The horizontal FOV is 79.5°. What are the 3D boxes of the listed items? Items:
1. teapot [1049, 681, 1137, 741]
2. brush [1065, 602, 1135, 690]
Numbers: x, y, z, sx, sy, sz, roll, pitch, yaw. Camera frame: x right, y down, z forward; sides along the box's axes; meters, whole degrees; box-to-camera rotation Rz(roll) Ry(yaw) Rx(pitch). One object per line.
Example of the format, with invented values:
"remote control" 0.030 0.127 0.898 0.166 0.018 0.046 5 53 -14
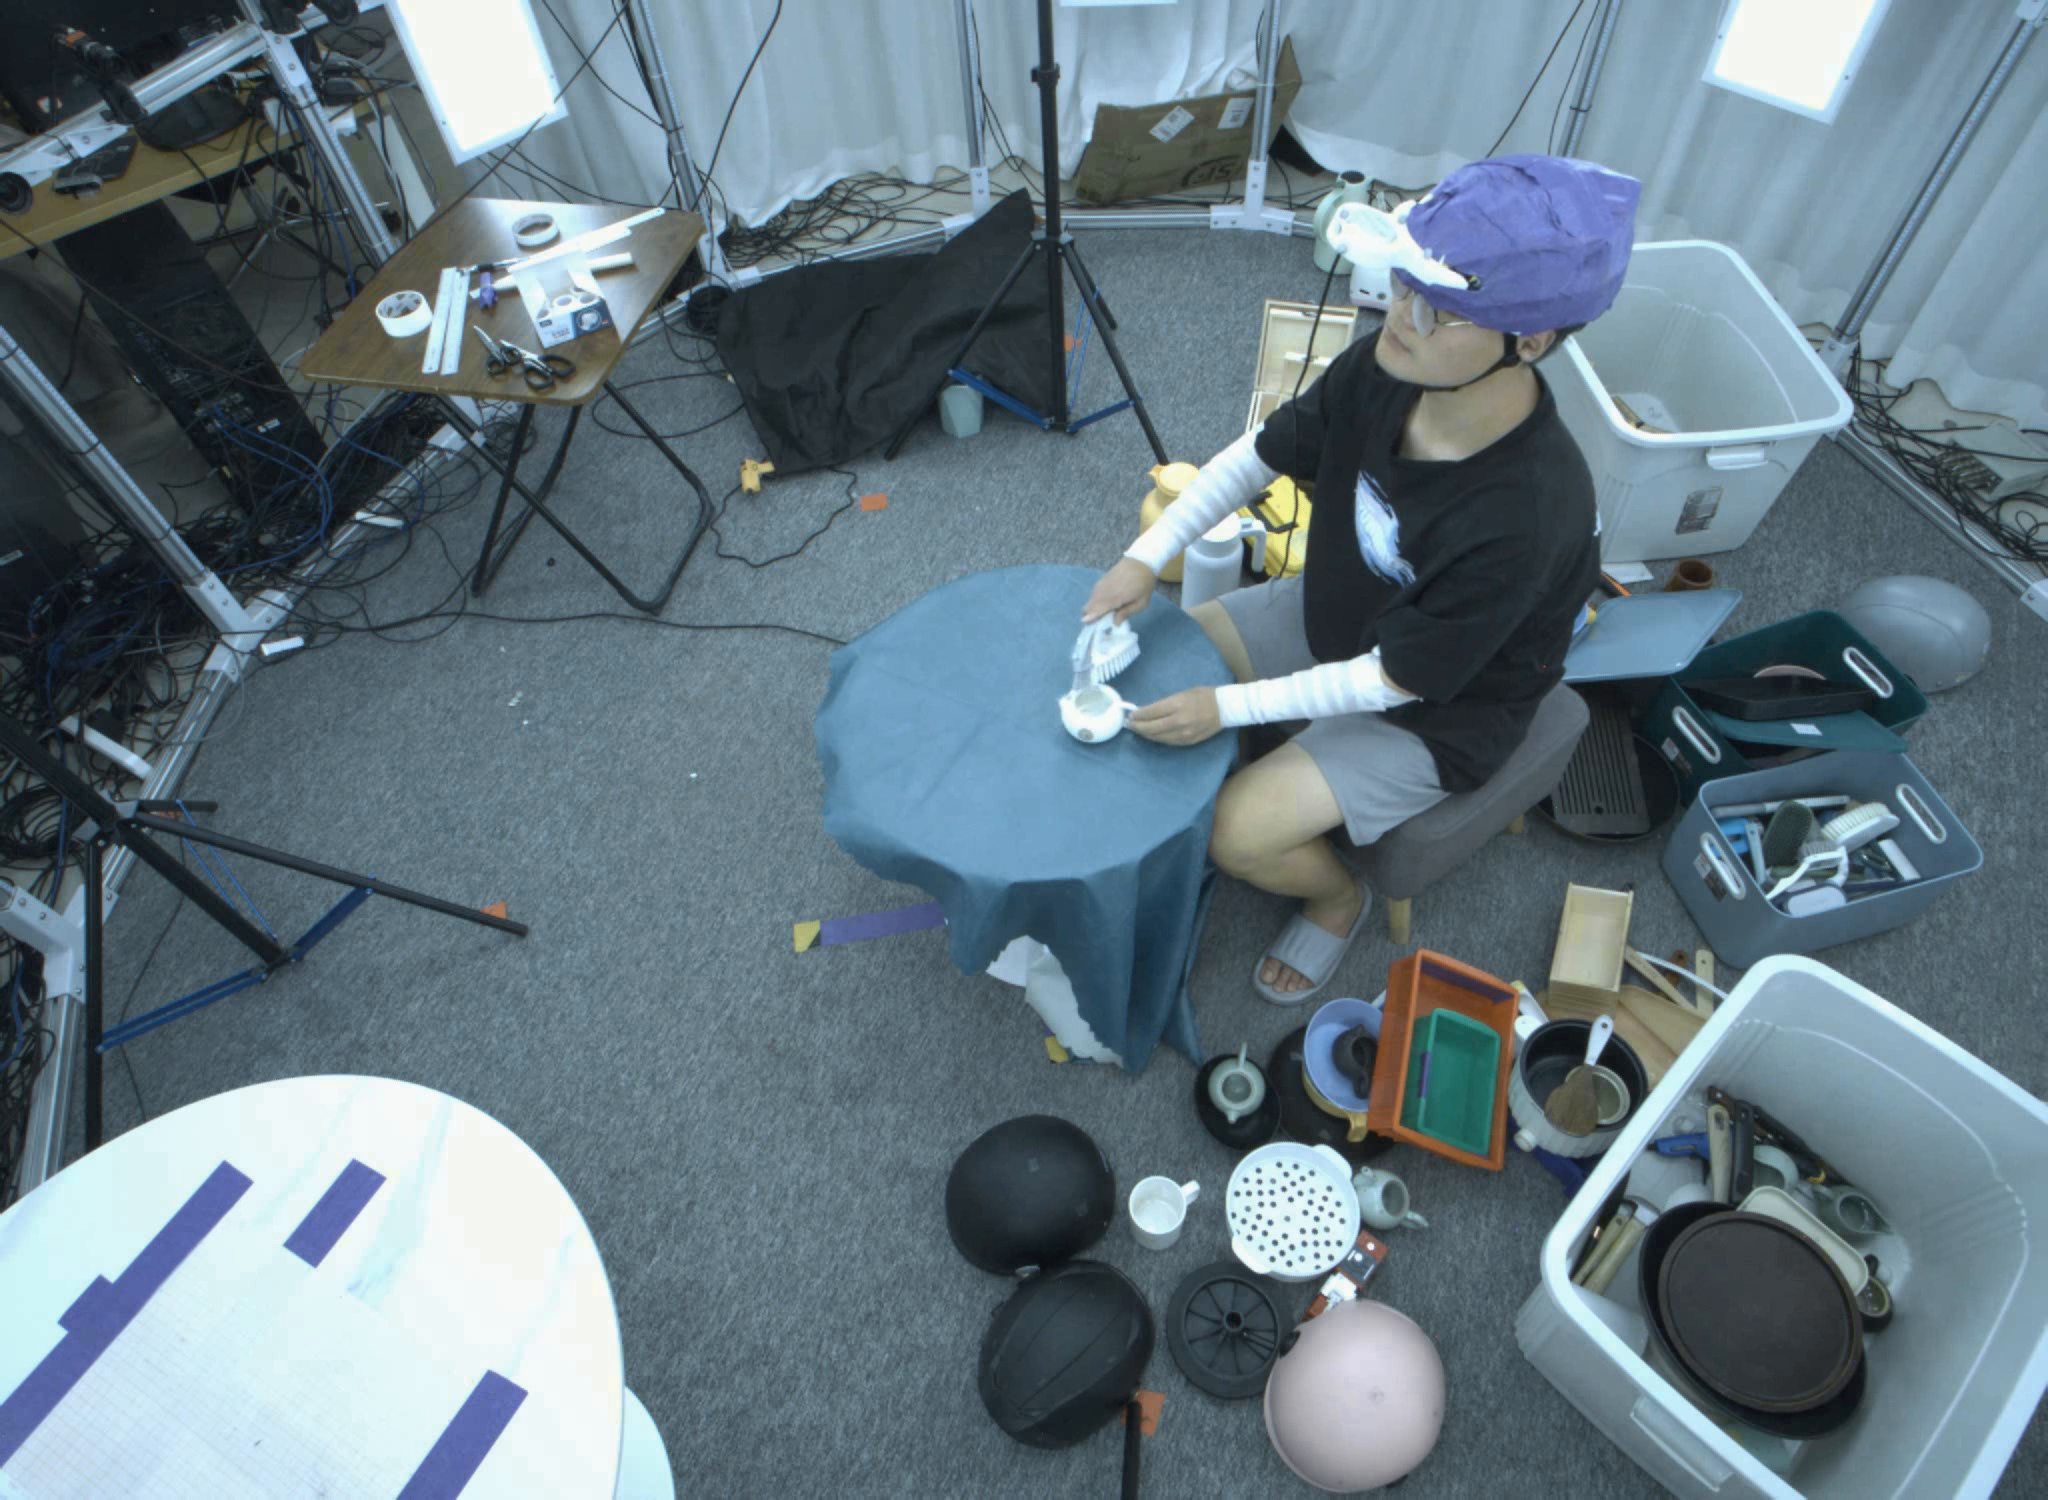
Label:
"teapot" 0.099 -0.055 1.781 0.127 0.057 0.092 3 51 3
"brush" 0.100 -0.157 1.785 0.060 0.095 0.177 2 26 30
